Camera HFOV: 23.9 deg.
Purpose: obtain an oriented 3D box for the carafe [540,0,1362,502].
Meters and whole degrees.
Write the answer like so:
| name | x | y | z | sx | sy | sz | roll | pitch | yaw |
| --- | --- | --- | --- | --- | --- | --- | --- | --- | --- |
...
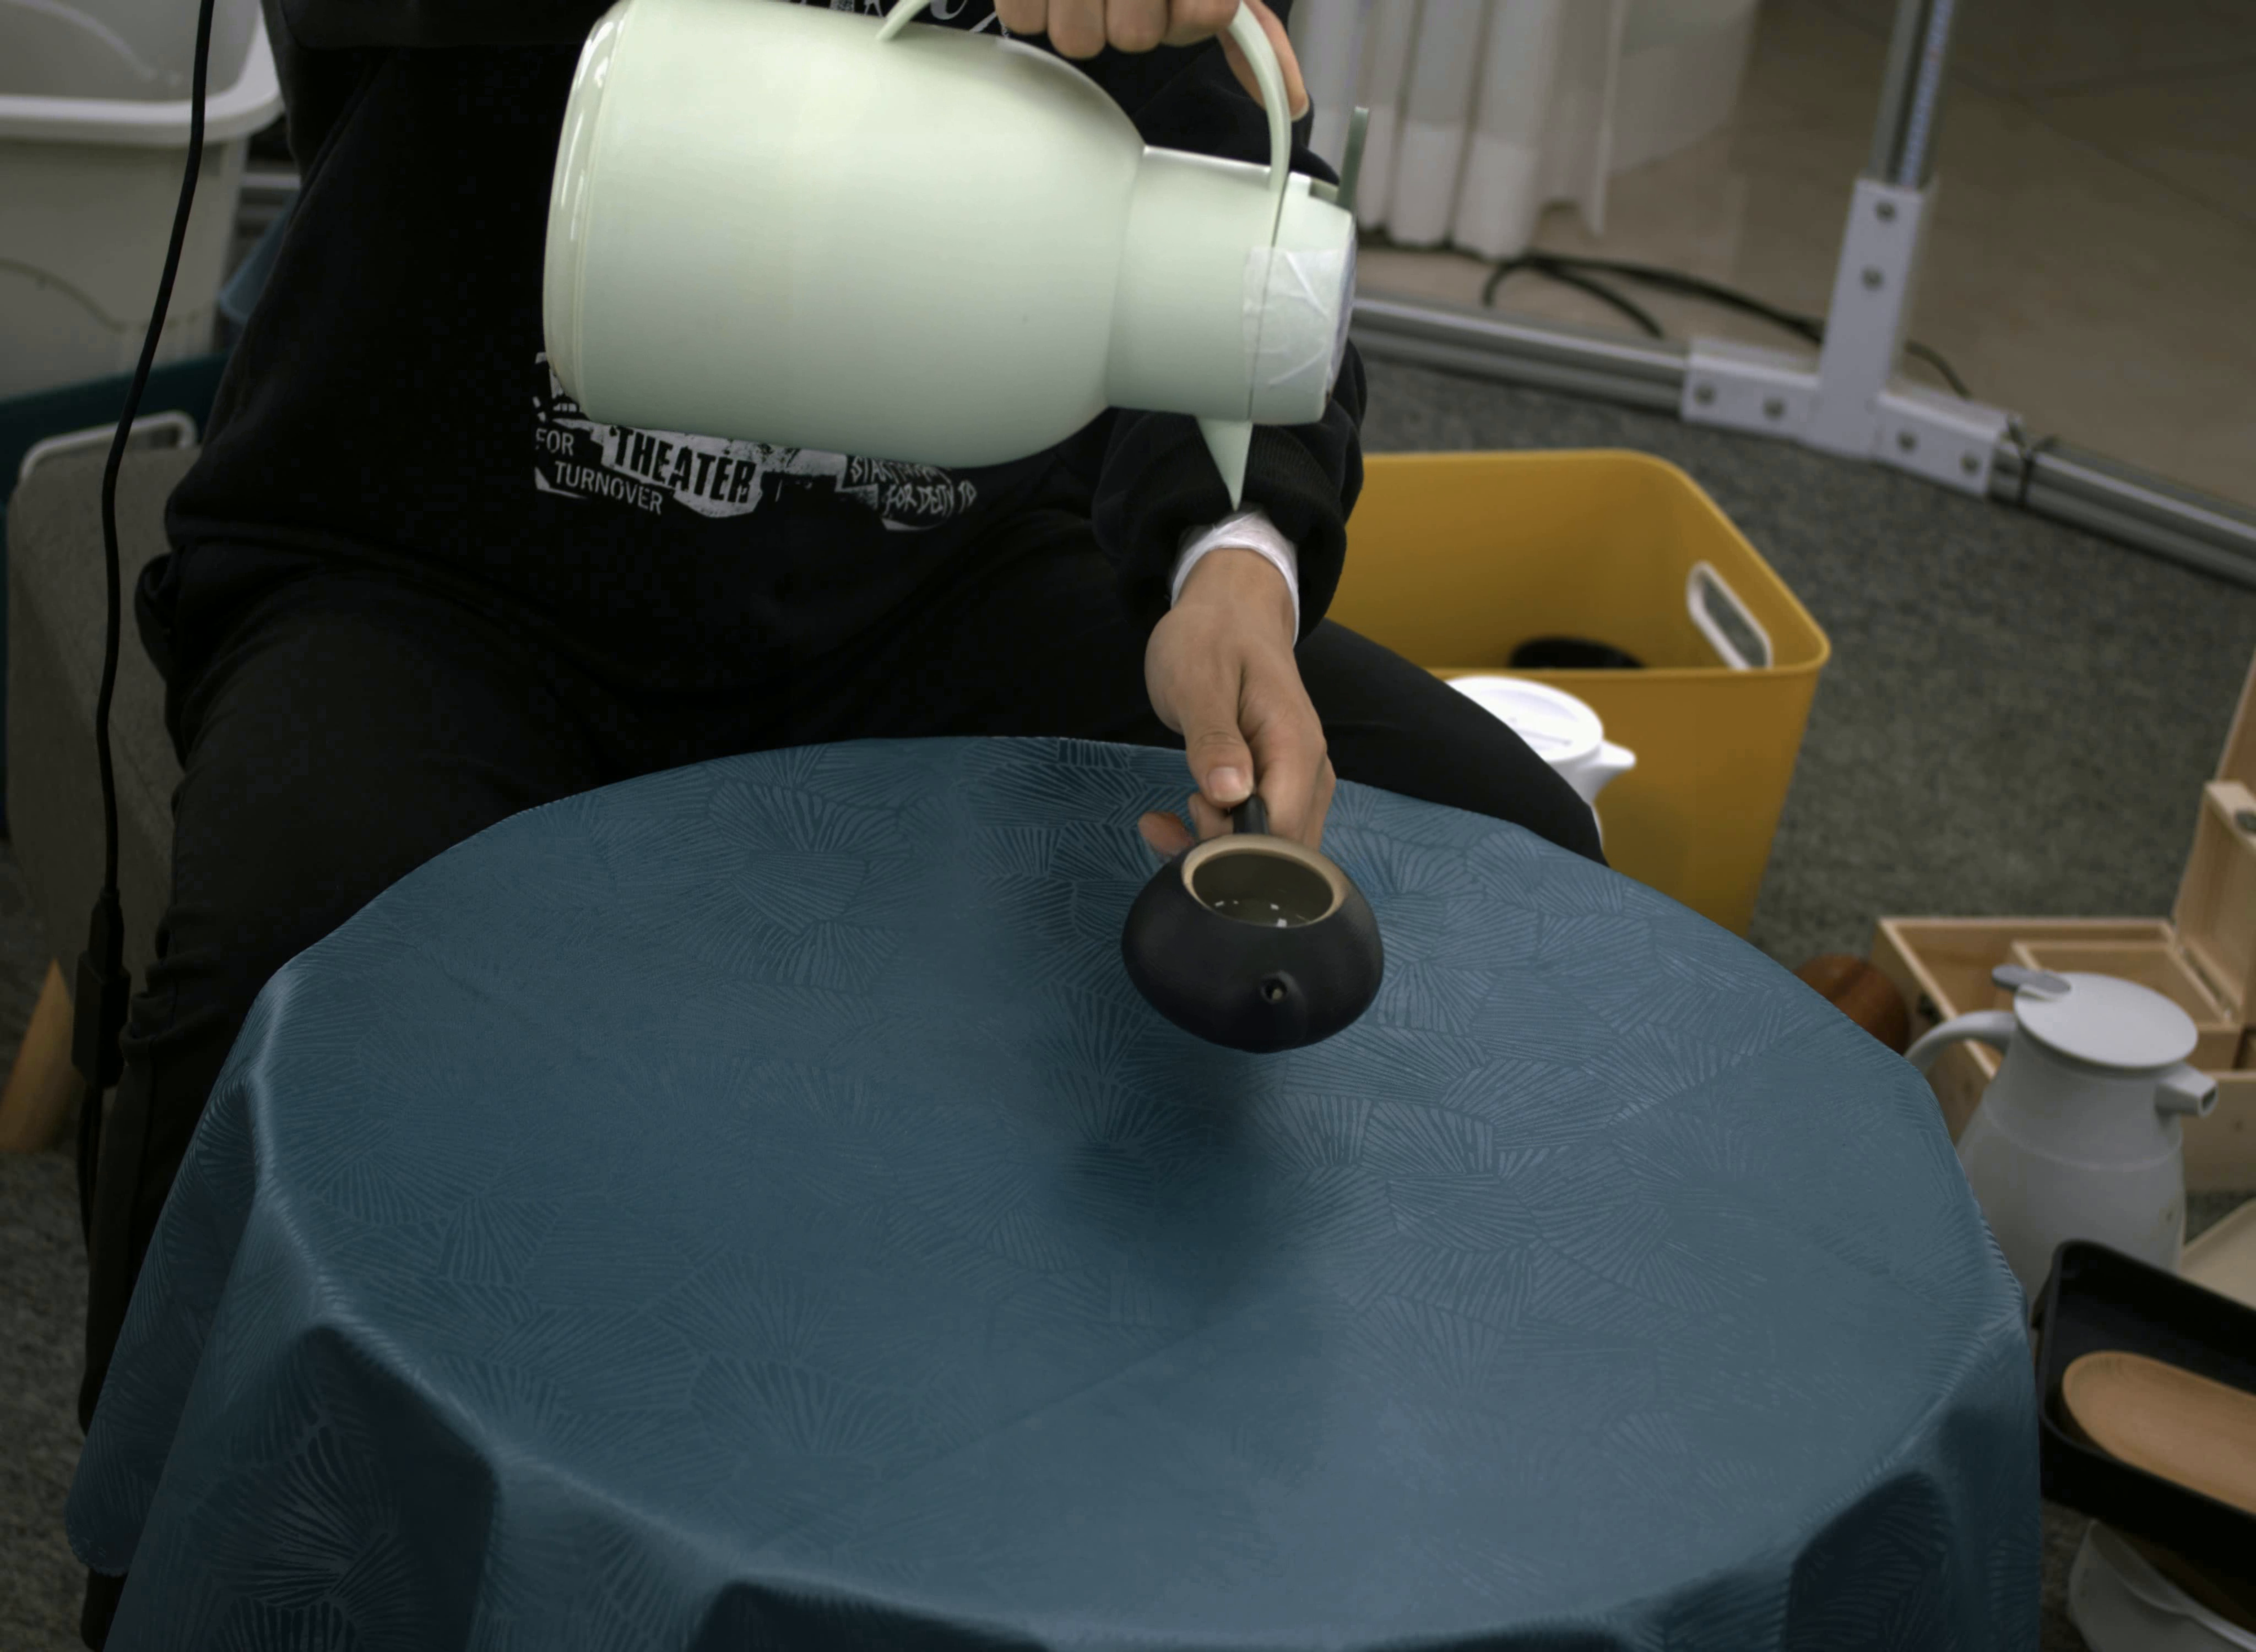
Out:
| name | x | y | z | sx | sy | sz | roll | pitch | yaw |
| --- | --- | --- | --- | --- | --- | --- | --- | --- | --- |
| carafe | -0.054 | -0.204 | 1.733 | 0.256 | 0.186 | 0.145 | 7 | 23 | 6 |

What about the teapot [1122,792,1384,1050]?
| name | x | y | z | sx | sy | sz | roll | pitch | yaw |
| --- | --- | --- | --- | --- | --- | --- | --- | --- | --- |
| teapot | 0.043 | 0.039 | 1.825 | 0.090 | 0.053 | 0.134 | 5 | 33 | -7 |
